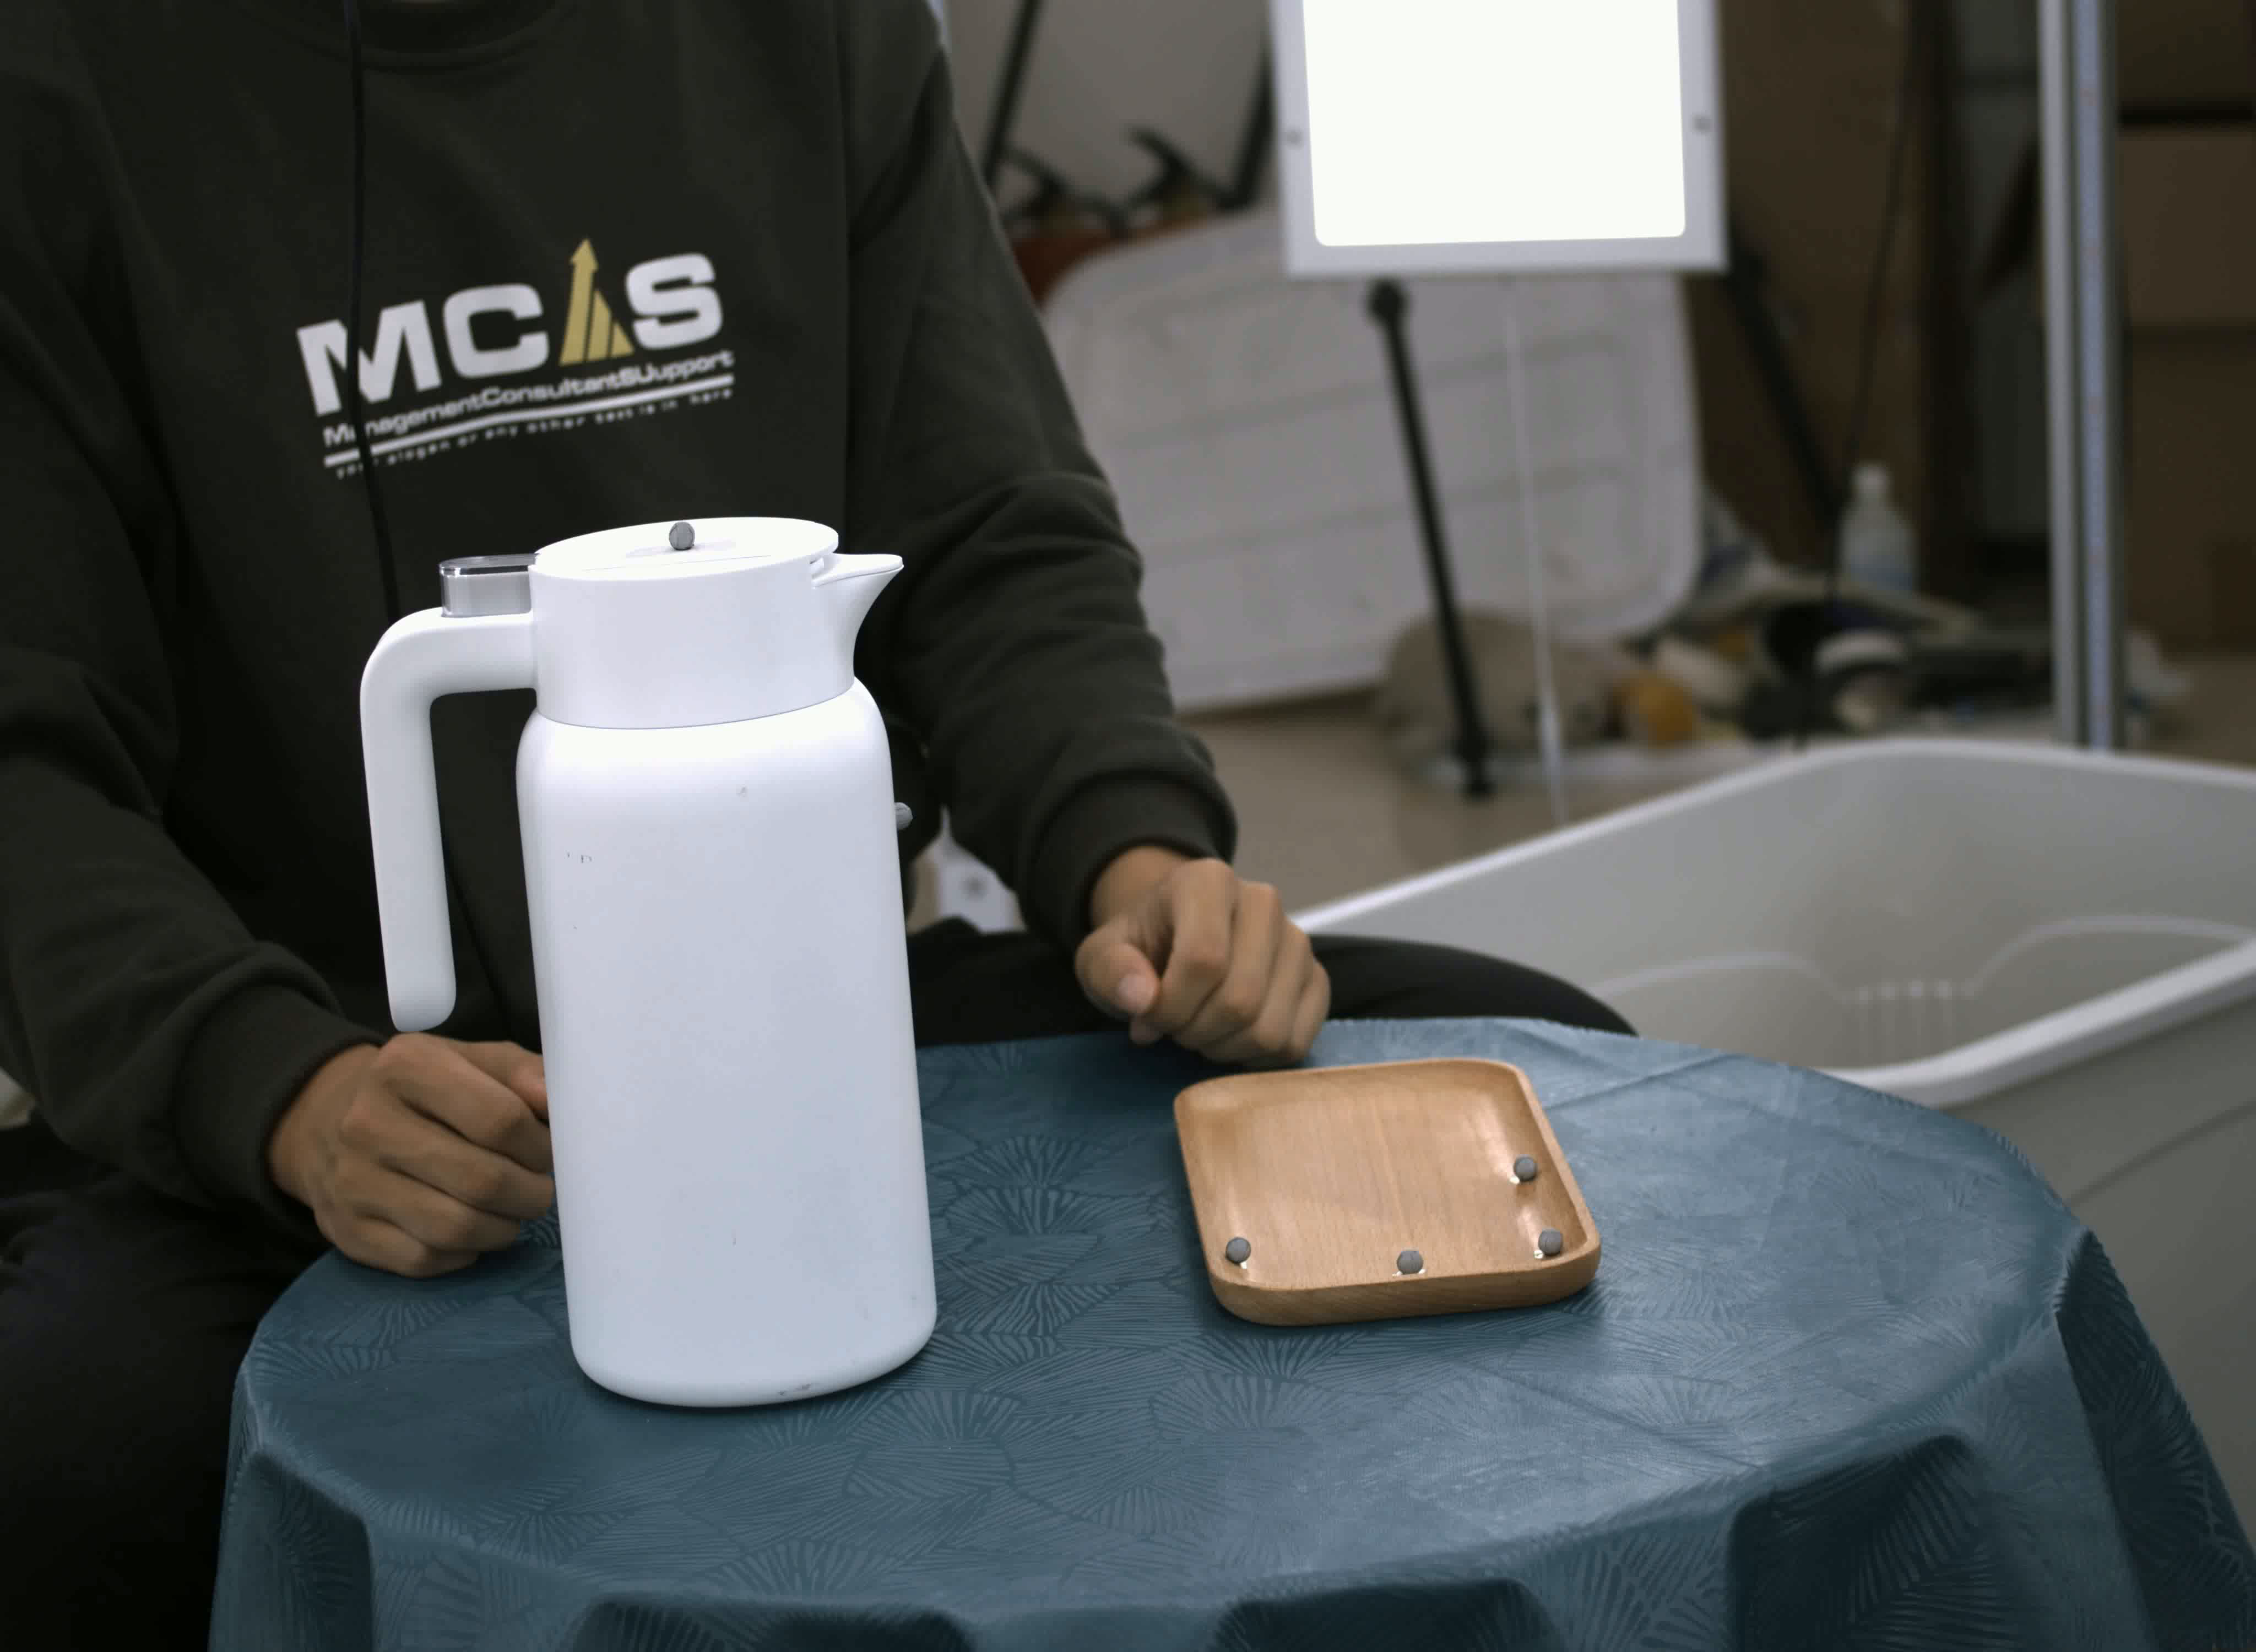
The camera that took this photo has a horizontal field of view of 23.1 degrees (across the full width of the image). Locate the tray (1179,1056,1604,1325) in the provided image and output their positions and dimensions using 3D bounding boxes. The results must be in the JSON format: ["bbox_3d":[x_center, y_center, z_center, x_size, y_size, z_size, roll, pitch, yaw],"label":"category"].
[{"bbox_3d":[0.086,0.121,1.859,0.130,0.023,0.250,-3,13,0],"label":"tray"}]

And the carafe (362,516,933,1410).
[{"bbox_3d":[-0.146,0.043,1.731,0.172,0.270,0.123,-5,15,1],"label":"carafe"}]
